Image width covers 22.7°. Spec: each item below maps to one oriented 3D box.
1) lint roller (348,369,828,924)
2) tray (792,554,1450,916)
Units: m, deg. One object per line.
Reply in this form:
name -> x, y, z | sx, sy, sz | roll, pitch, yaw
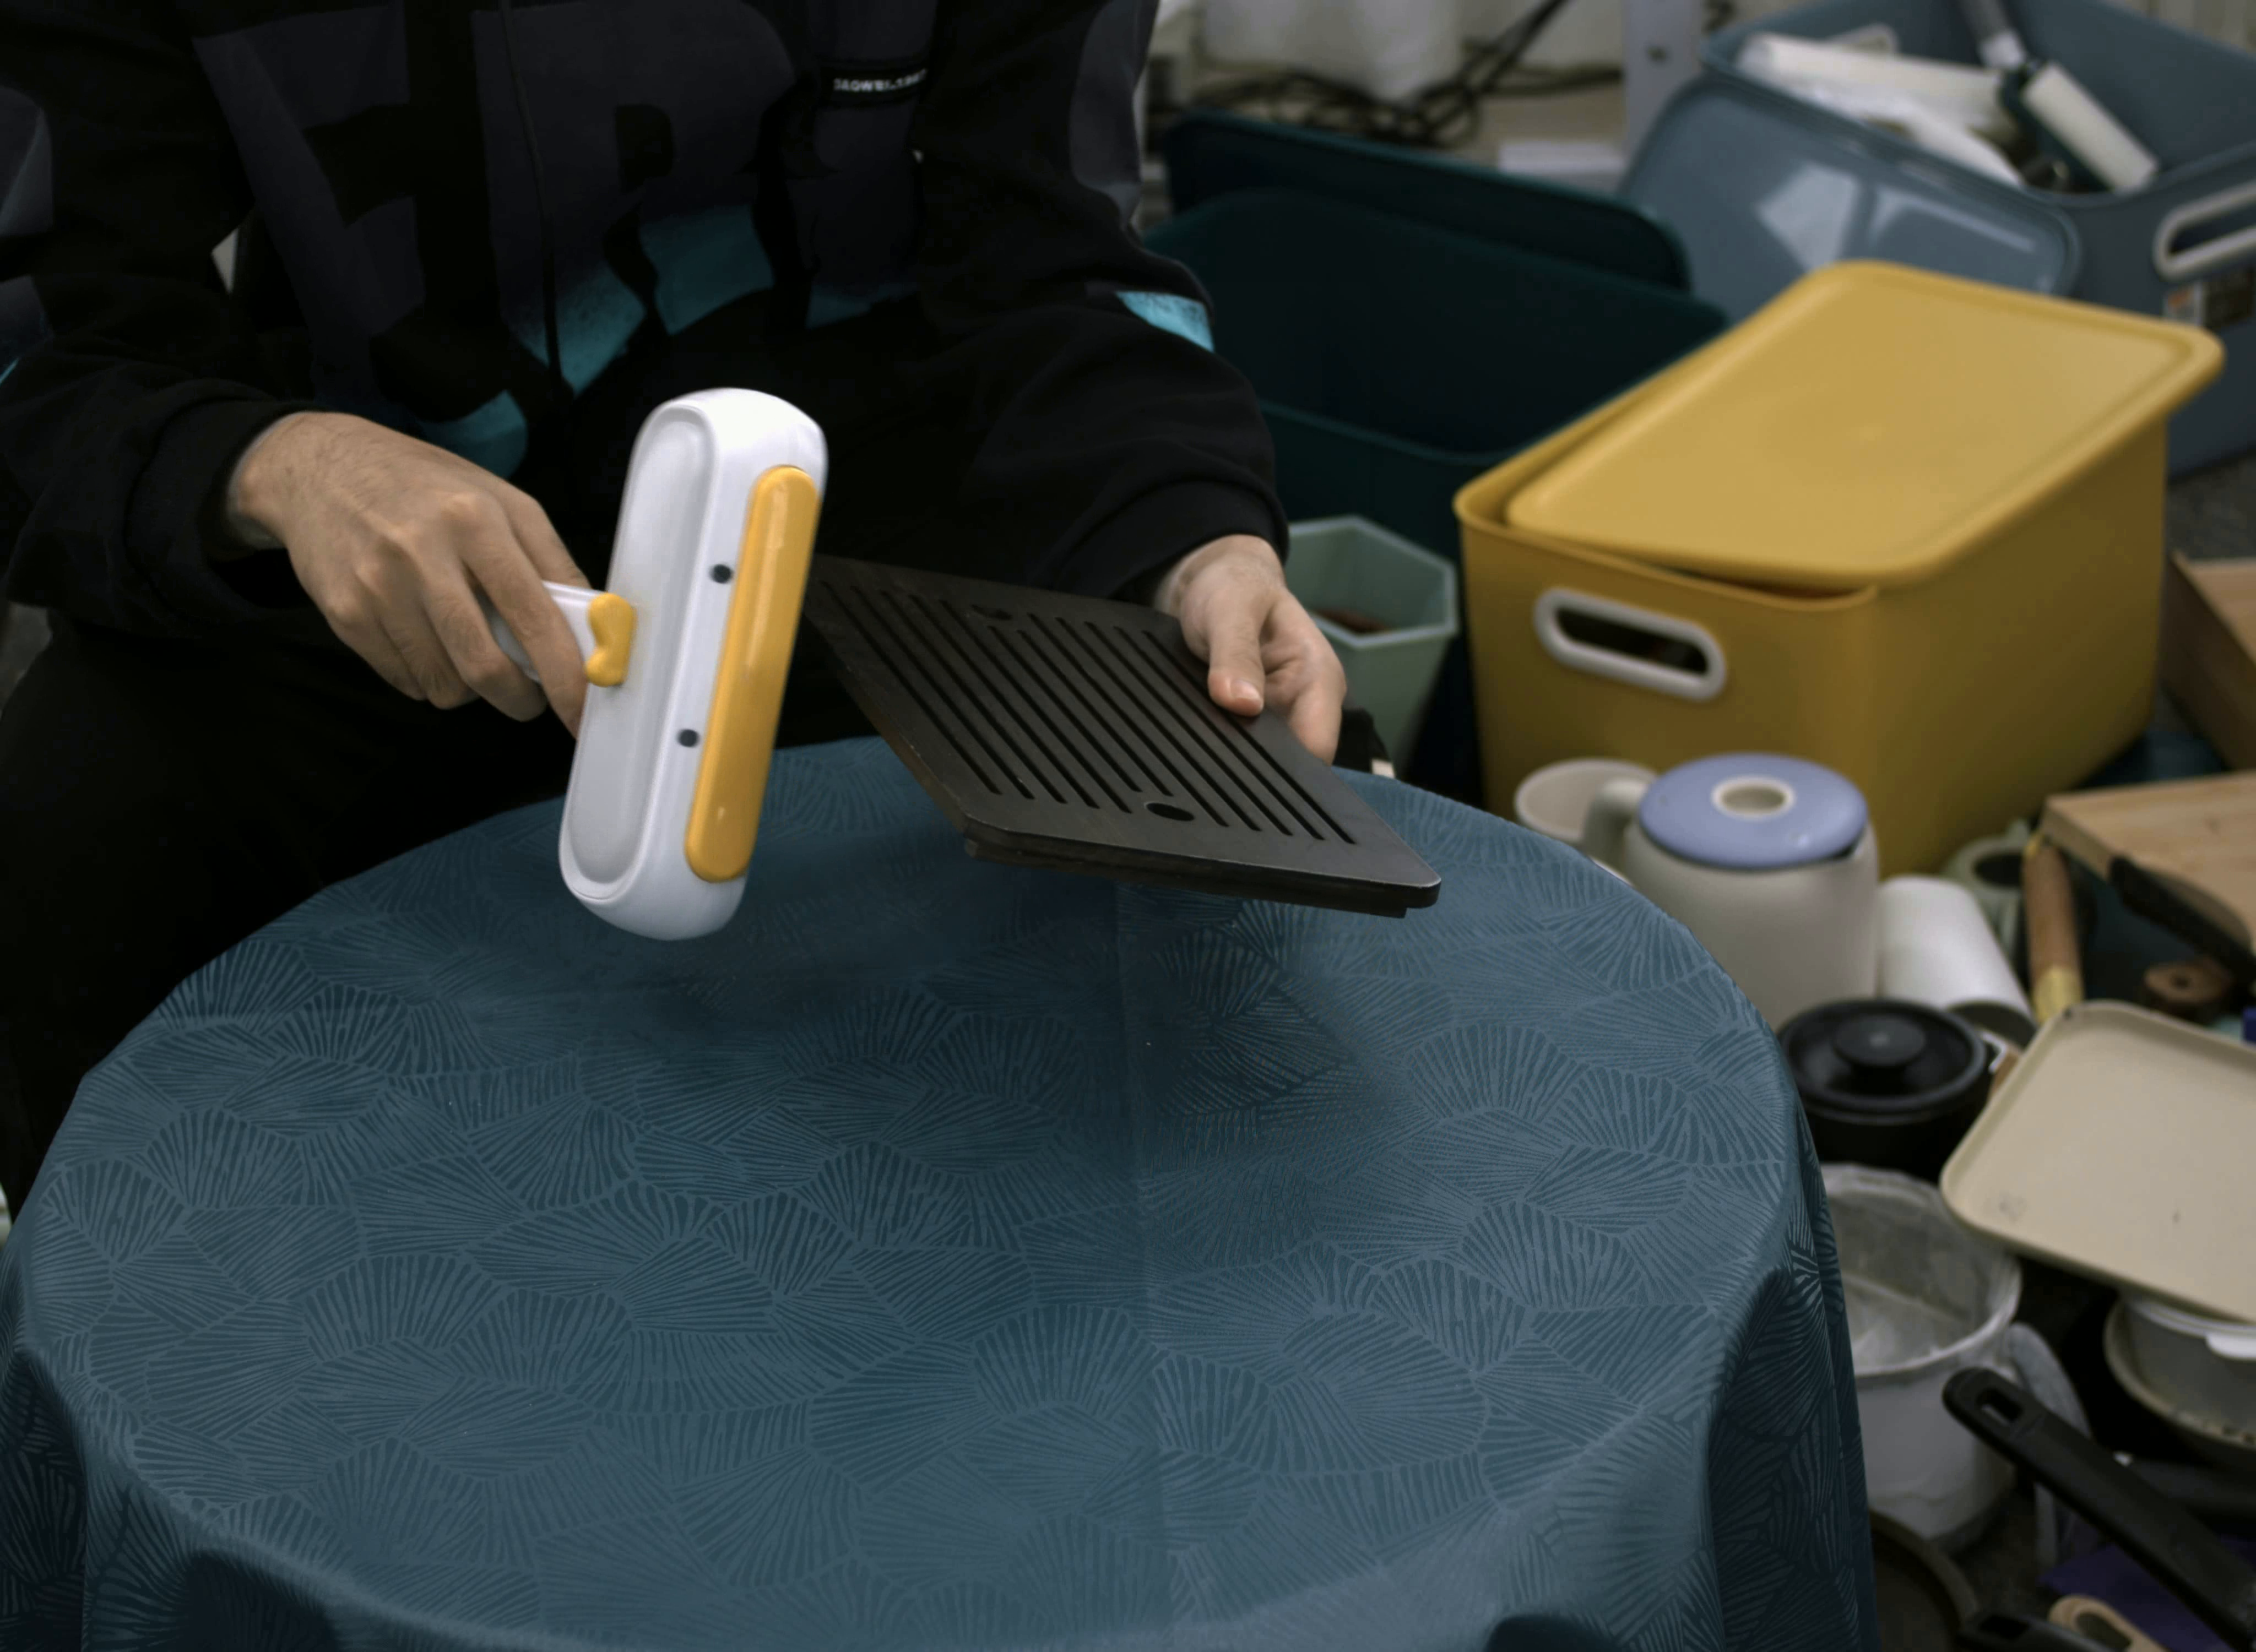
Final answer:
lint roller -> -0.194, -0.067, 1.984 | 0.191, 0.194, 0.074 | 5, -2, 43
tray -> -0.015, -0.033, 1.956 | 0.170, 0.018, 0.308 | 8, 17, -21
